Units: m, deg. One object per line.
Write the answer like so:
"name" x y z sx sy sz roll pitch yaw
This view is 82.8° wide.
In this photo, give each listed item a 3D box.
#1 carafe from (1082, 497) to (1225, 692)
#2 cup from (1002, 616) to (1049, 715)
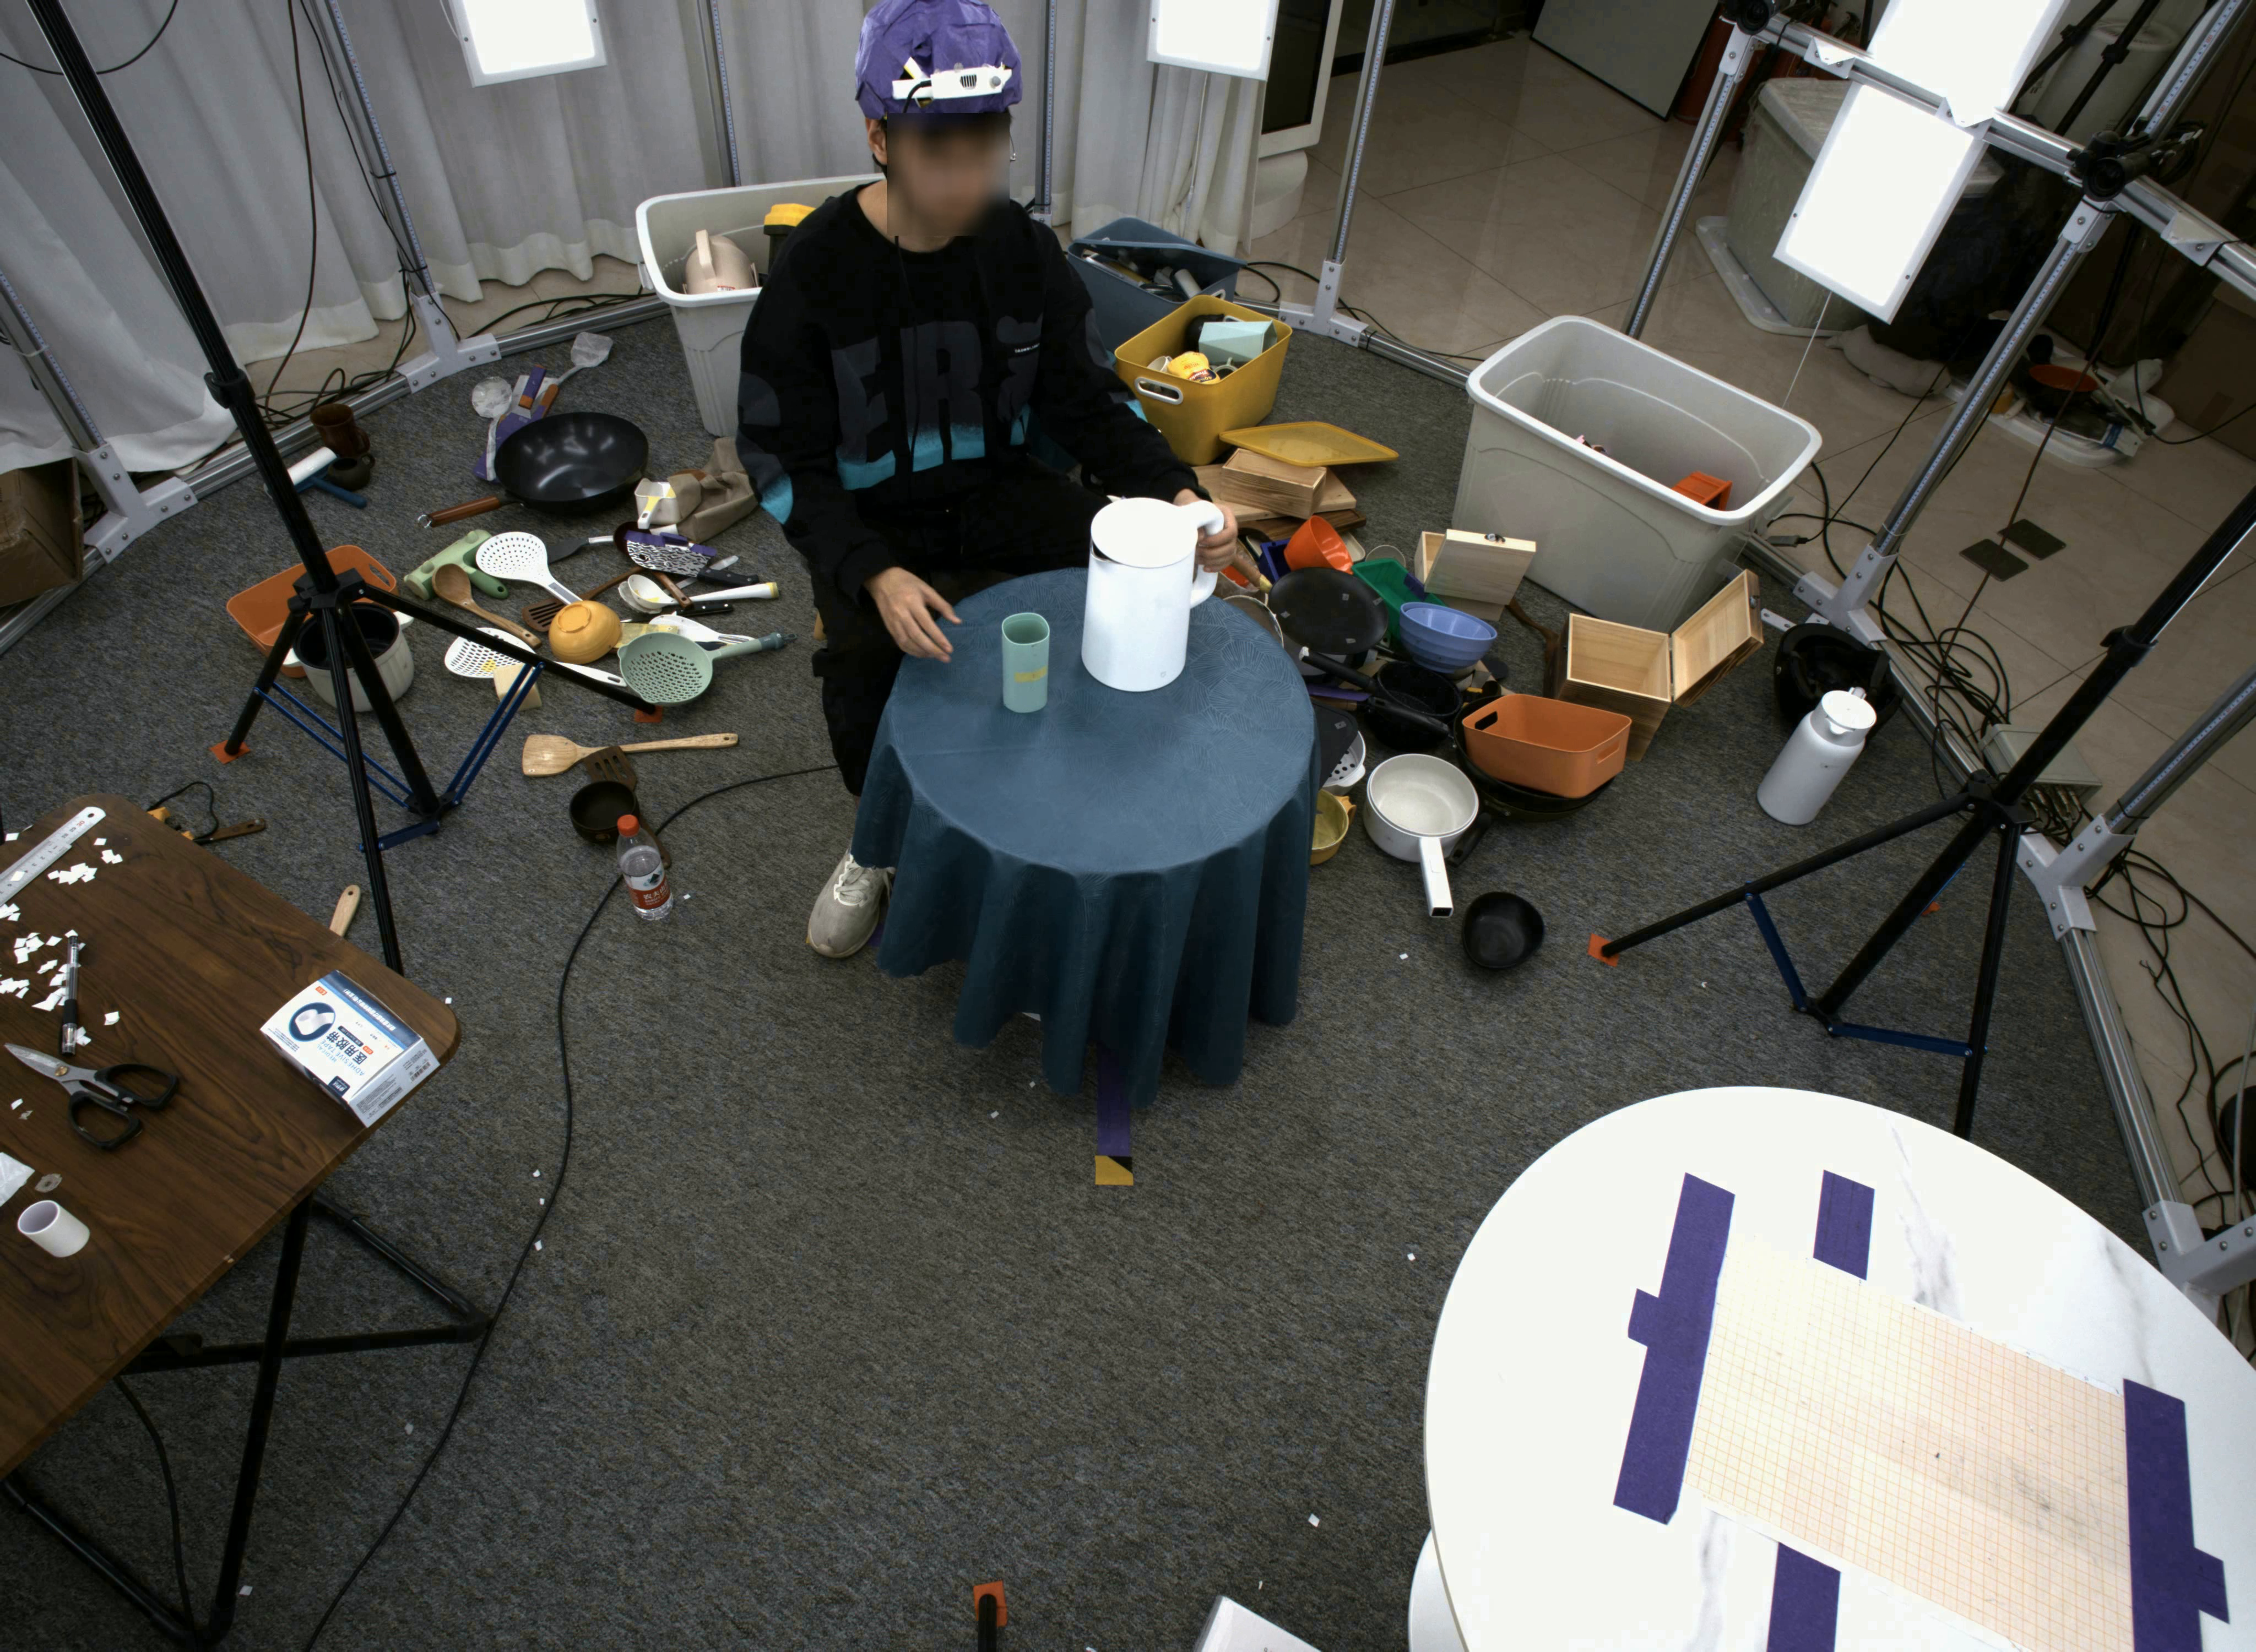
"carafe" 0.037 -0.332 1.809 0.214 0.234 0.155 -26 57 -23
"cup" -0.141 -0.221 1.771 0.066 0.129 0.068 2 50 -2
